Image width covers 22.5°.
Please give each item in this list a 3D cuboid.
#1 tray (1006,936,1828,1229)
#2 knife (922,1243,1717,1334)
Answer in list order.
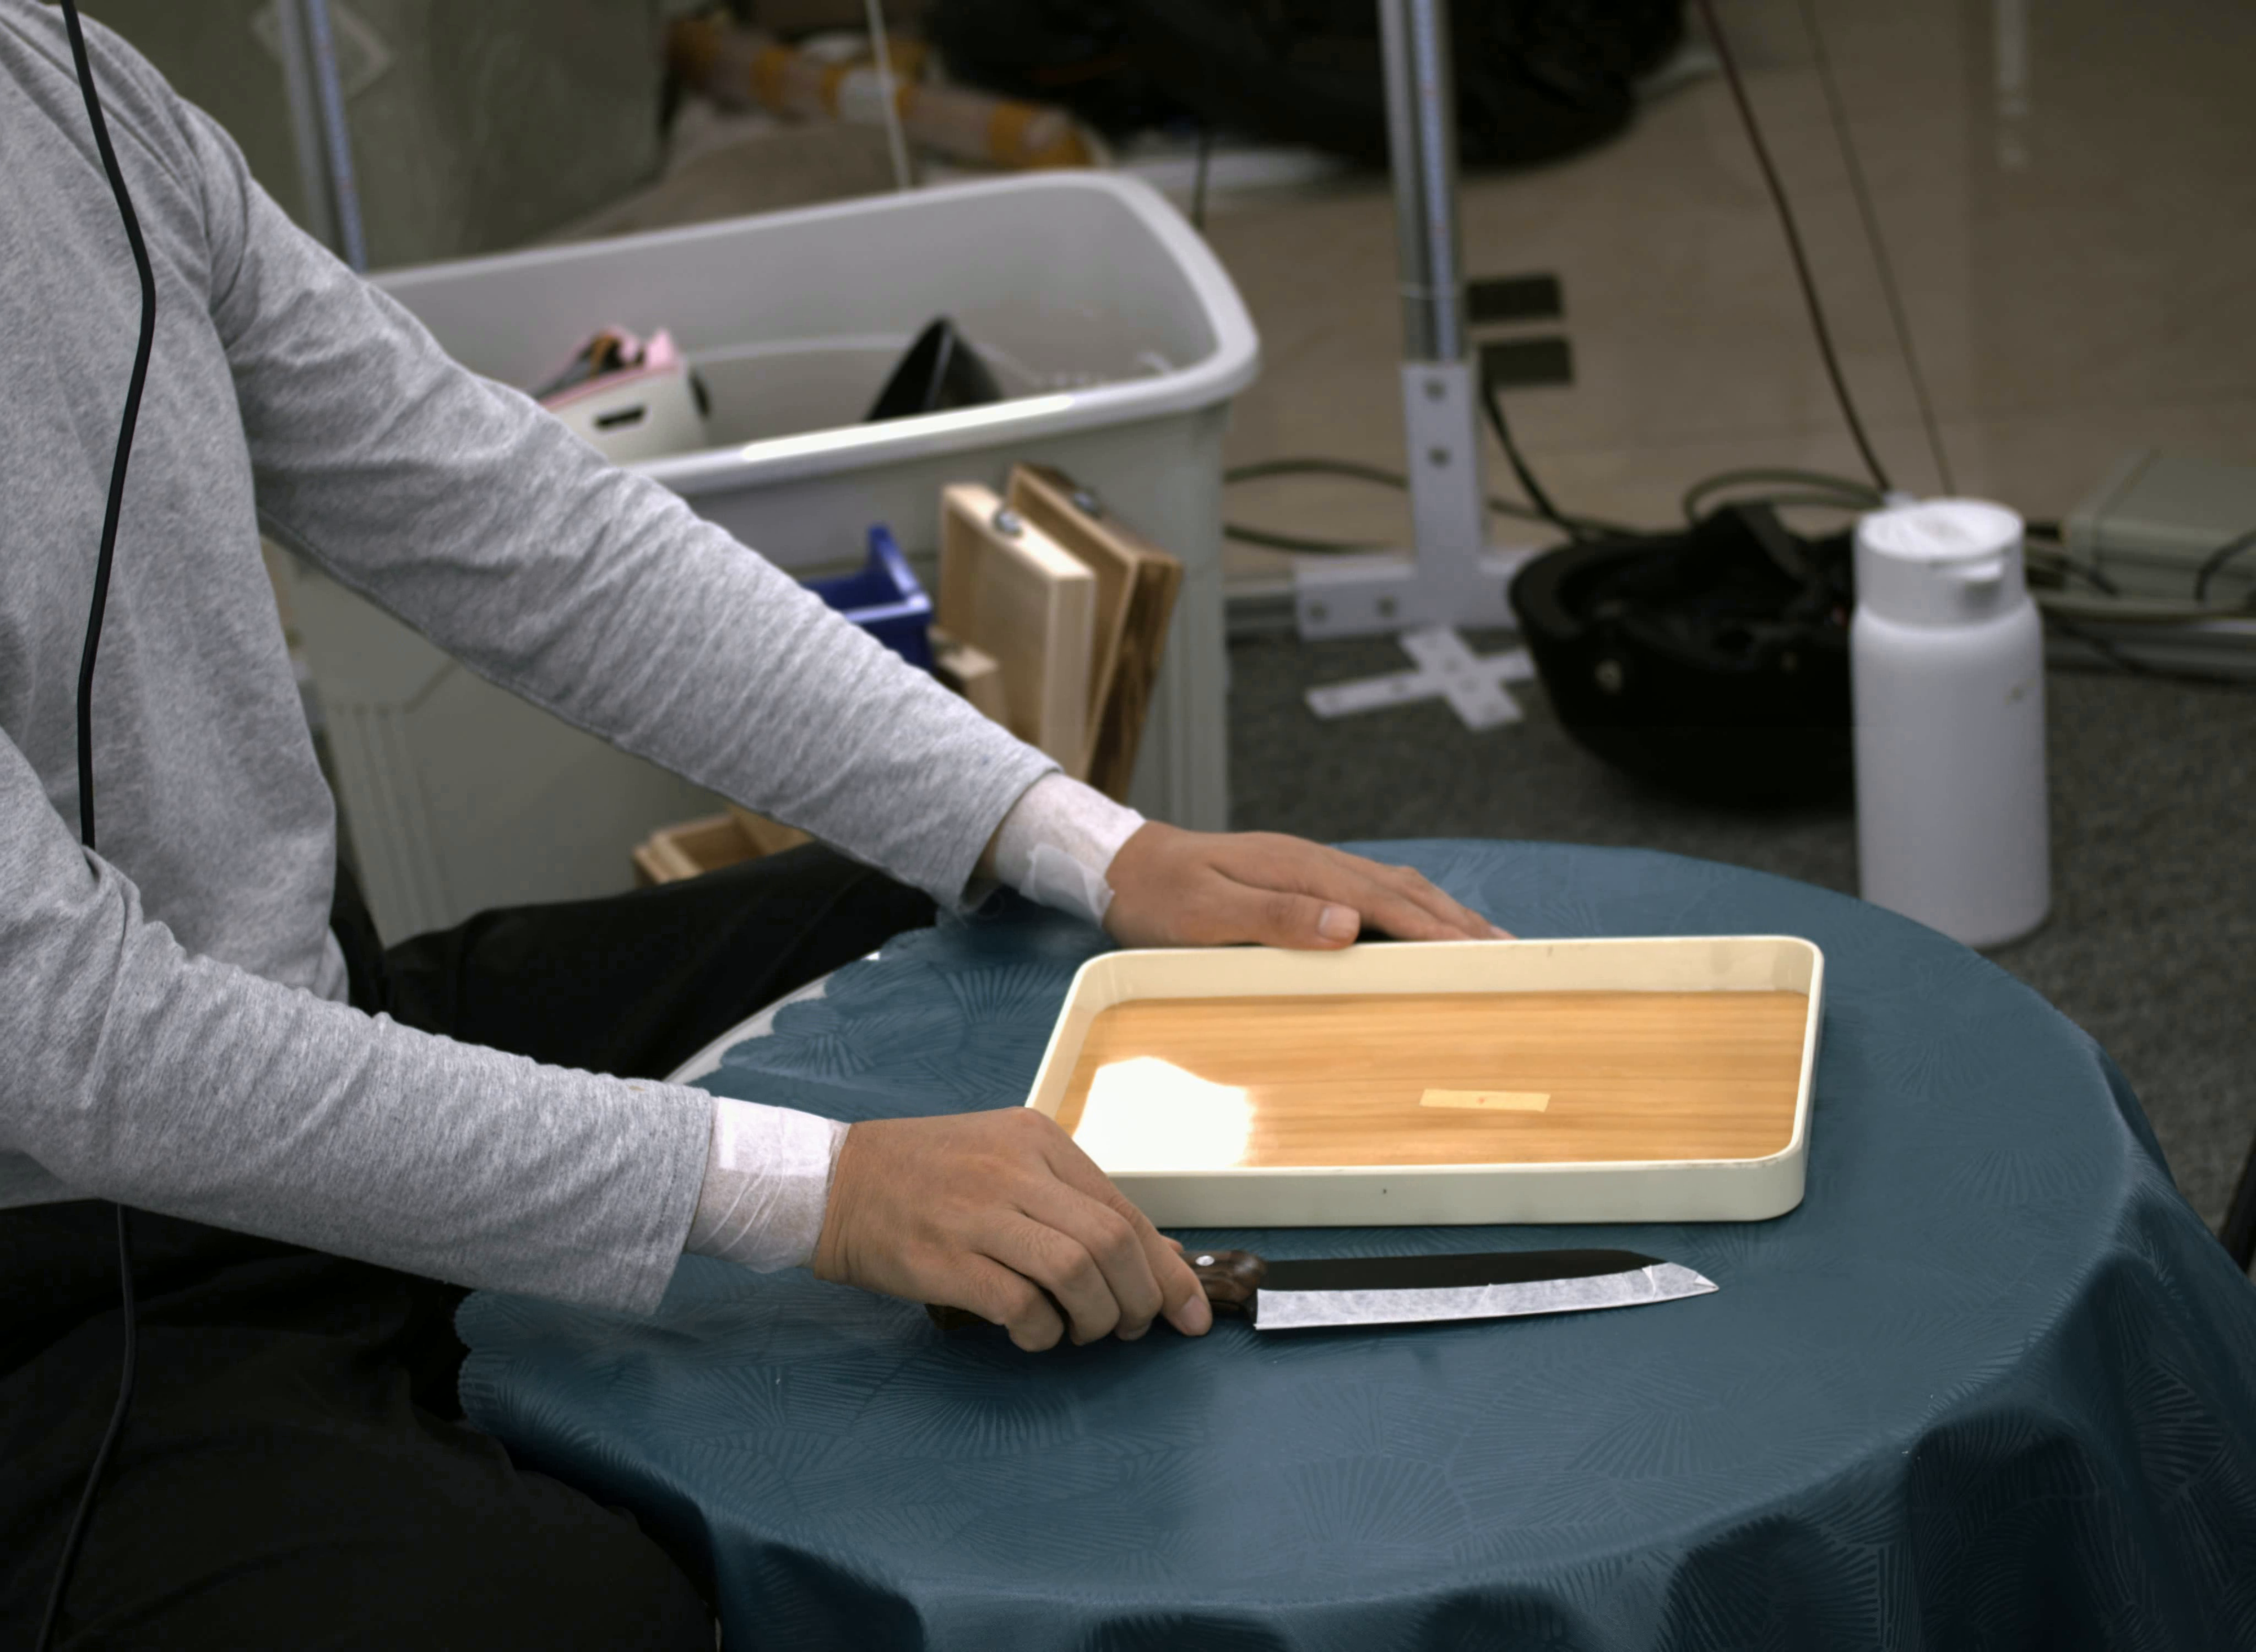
[{"bbox_3d":[0.114,0.098,2.180,0.300,0.028,0.189,-2,25,11],"label":"tray"},{"bbox_3d":[0.068,0.168,2.055,0.288,0.020,0.049,-2,30,4],"label":"knife"}]
